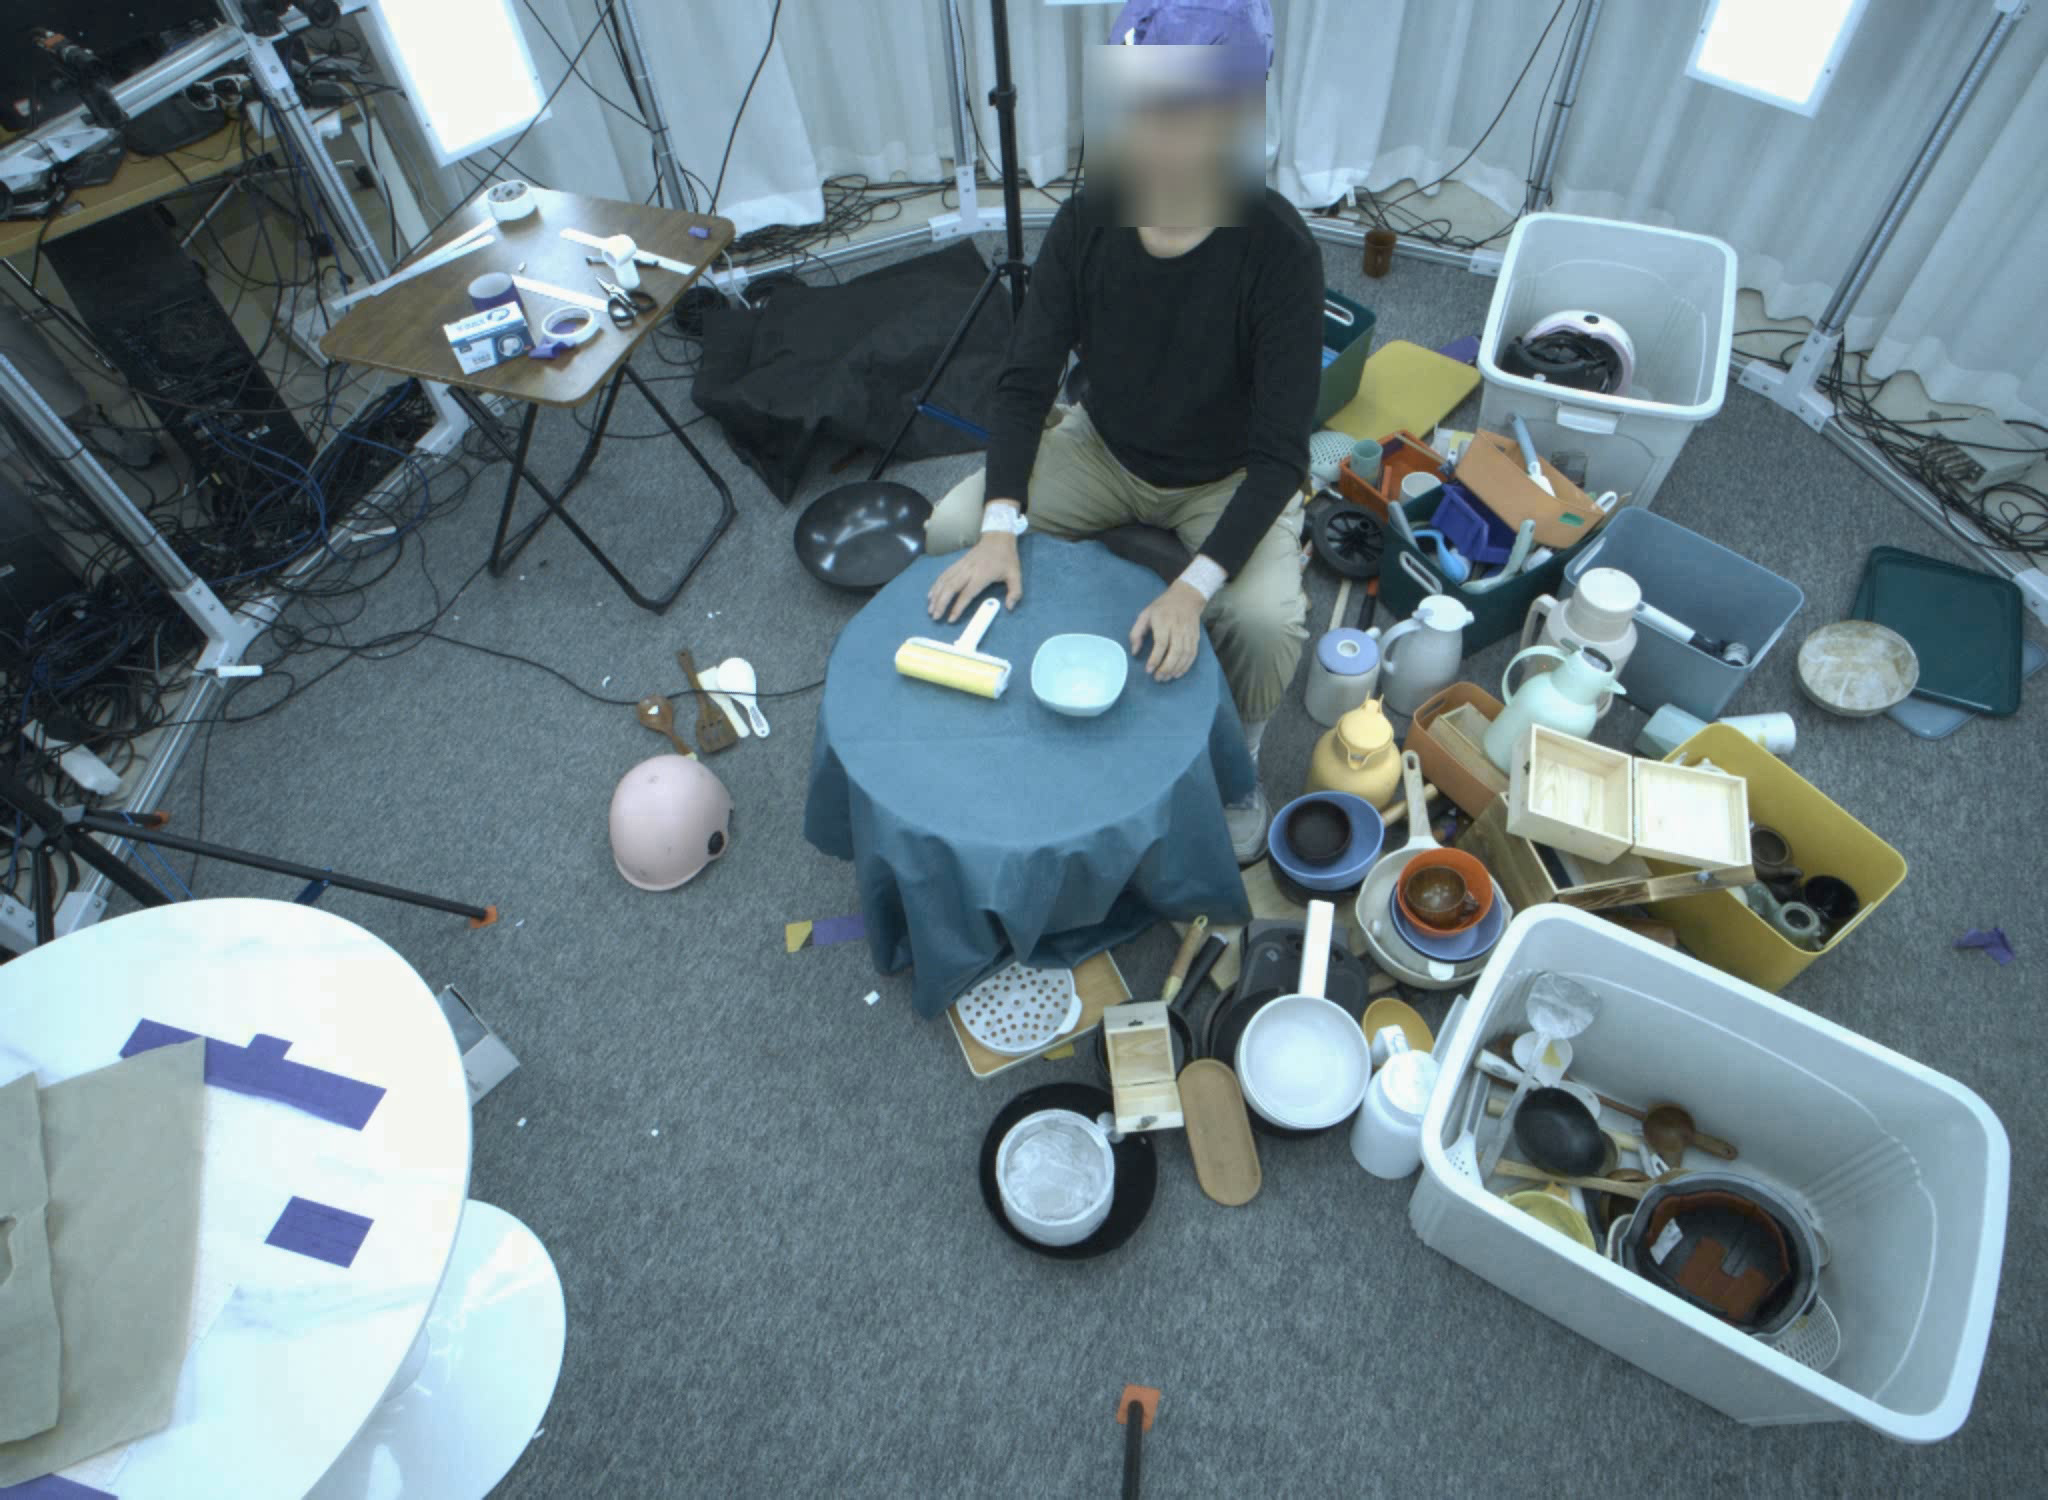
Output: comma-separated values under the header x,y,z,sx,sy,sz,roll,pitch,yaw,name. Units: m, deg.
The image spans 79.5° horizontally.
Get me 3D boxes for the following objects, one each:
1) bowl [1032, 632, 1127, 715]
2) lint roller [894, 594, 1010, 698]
x,y,z,sx,sy,sz,roll,pitch,yaw,name
0.083,-0.103,1.823,0.151,0.059,0.150,-1,56,3,bowl
-0.089,-0.177,1.883,0.173,0.052,0.191,15,61,12,lint roller
